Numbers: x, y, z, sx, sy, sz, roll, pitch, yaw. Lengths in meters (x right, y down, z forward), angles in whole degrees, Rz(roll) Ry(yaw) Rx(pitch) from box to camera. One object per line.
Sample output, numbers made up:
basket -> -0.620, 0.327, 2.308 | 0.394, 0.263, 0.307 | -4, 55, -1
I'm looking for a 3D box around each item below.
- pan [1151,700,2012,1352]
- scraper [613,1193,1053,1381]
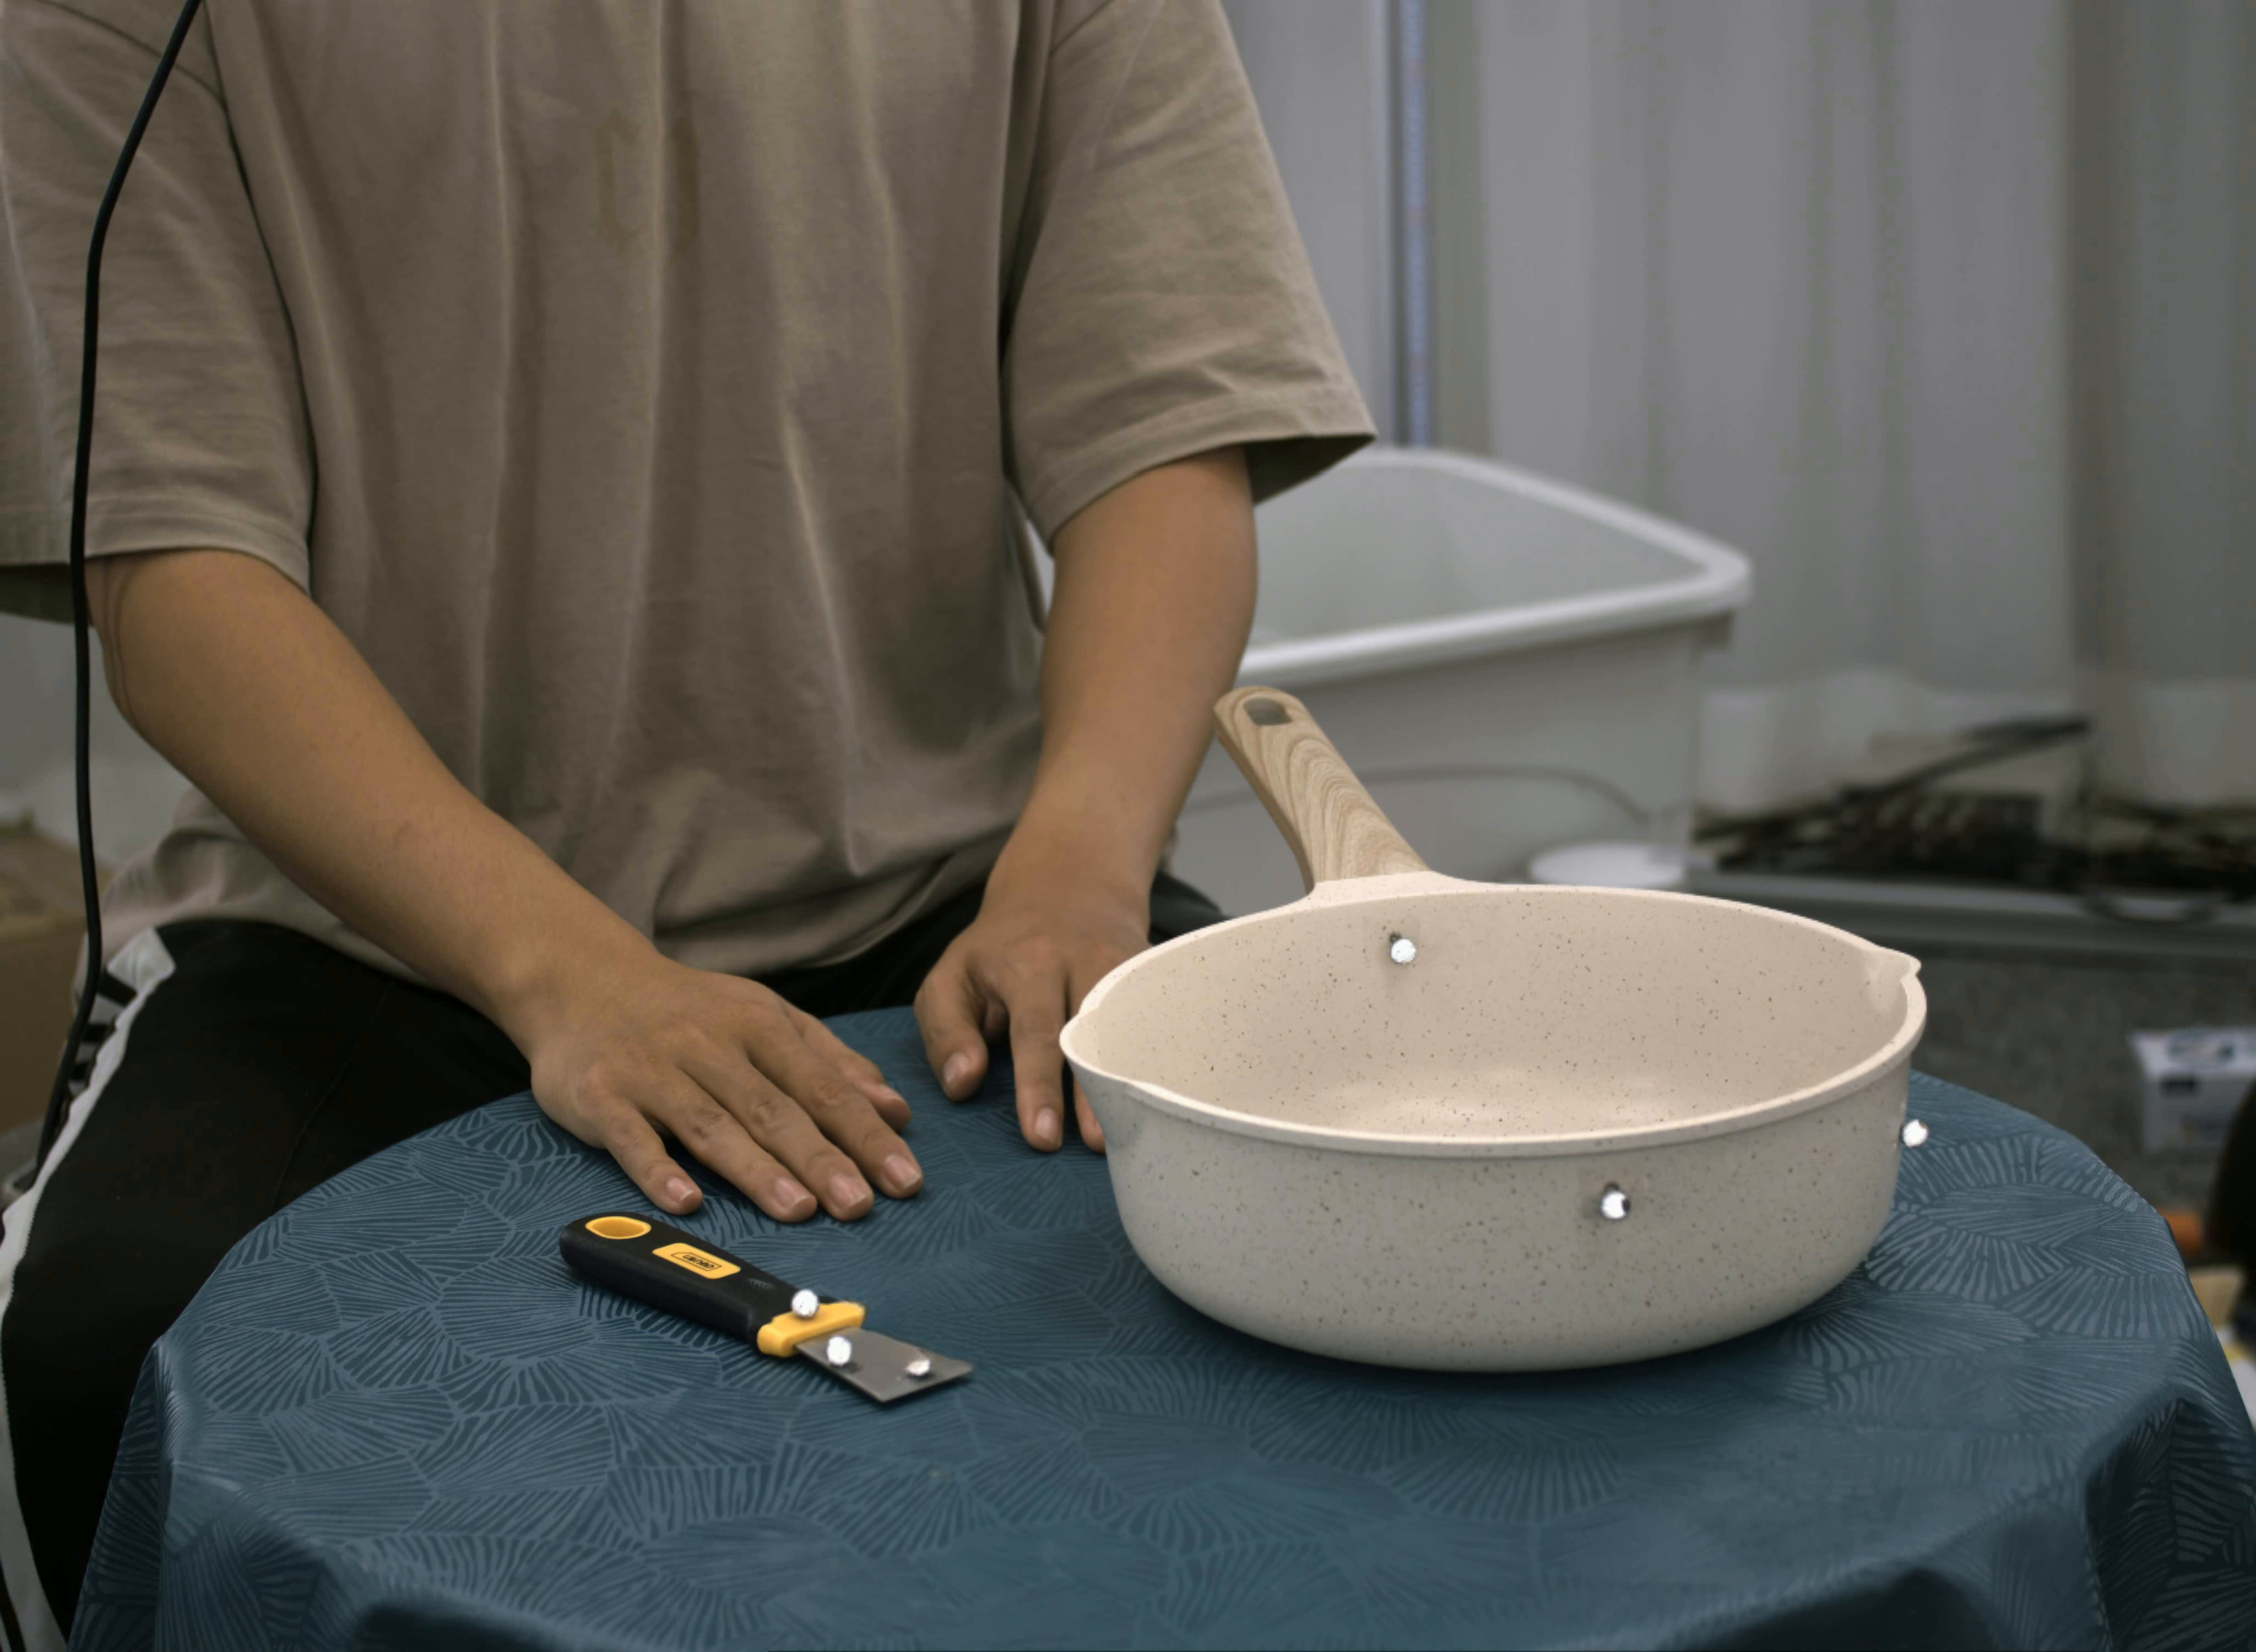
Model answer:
pan -> 0.117, 0.056, 1.716 | 0.262, 0.101, 0.438 | -8, 16, -11
scraper -> -0.092, 0.135, 1.608 | 0.039, 0.015, 0.172 | -21, 25, -39
